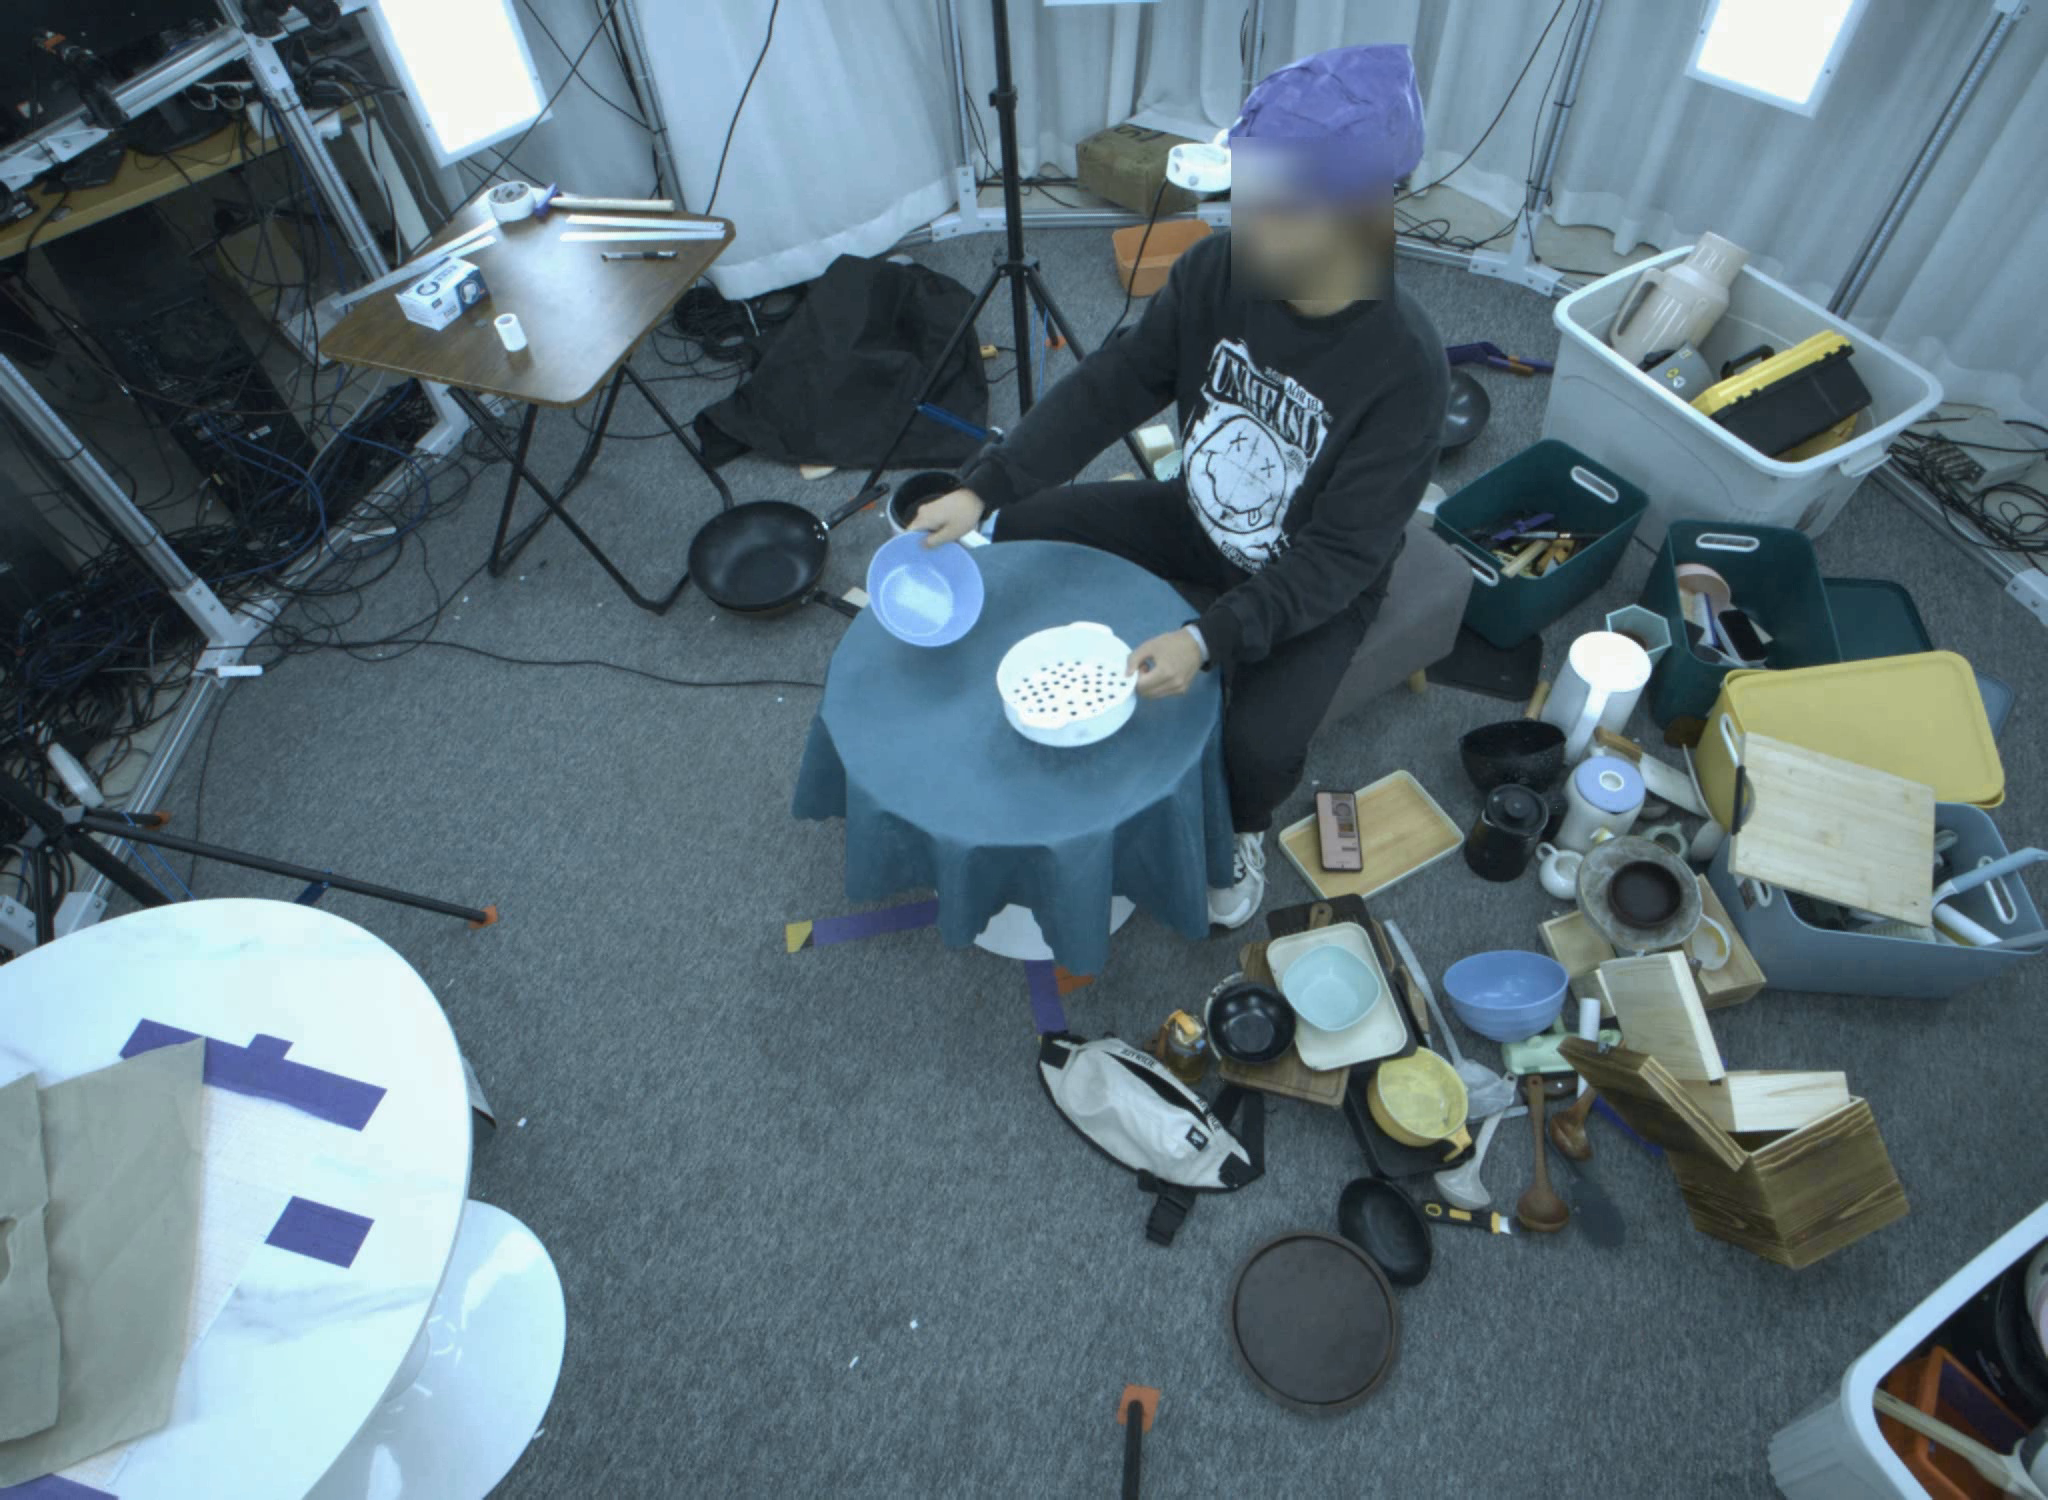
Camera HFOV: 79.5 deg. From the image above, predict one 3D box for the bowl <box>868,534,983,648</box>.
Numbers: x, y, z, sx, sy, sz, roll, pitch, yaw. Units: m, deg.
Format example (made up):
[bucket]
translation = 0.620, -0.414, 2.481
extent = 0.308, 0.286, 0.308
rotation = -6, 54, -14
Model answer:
[bowl]
translation = -0.154, -0.229, 1.824
extent = 0.179, 0.069, 0.175
rotation = 4, 80, -21

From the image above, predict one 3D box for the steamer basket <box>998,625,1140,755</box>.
[steamer basket]
translation = 0.066, -0.082, 1.772
extent = 0.199, 0.070, 0.230
rotation = 12, 51, 16
